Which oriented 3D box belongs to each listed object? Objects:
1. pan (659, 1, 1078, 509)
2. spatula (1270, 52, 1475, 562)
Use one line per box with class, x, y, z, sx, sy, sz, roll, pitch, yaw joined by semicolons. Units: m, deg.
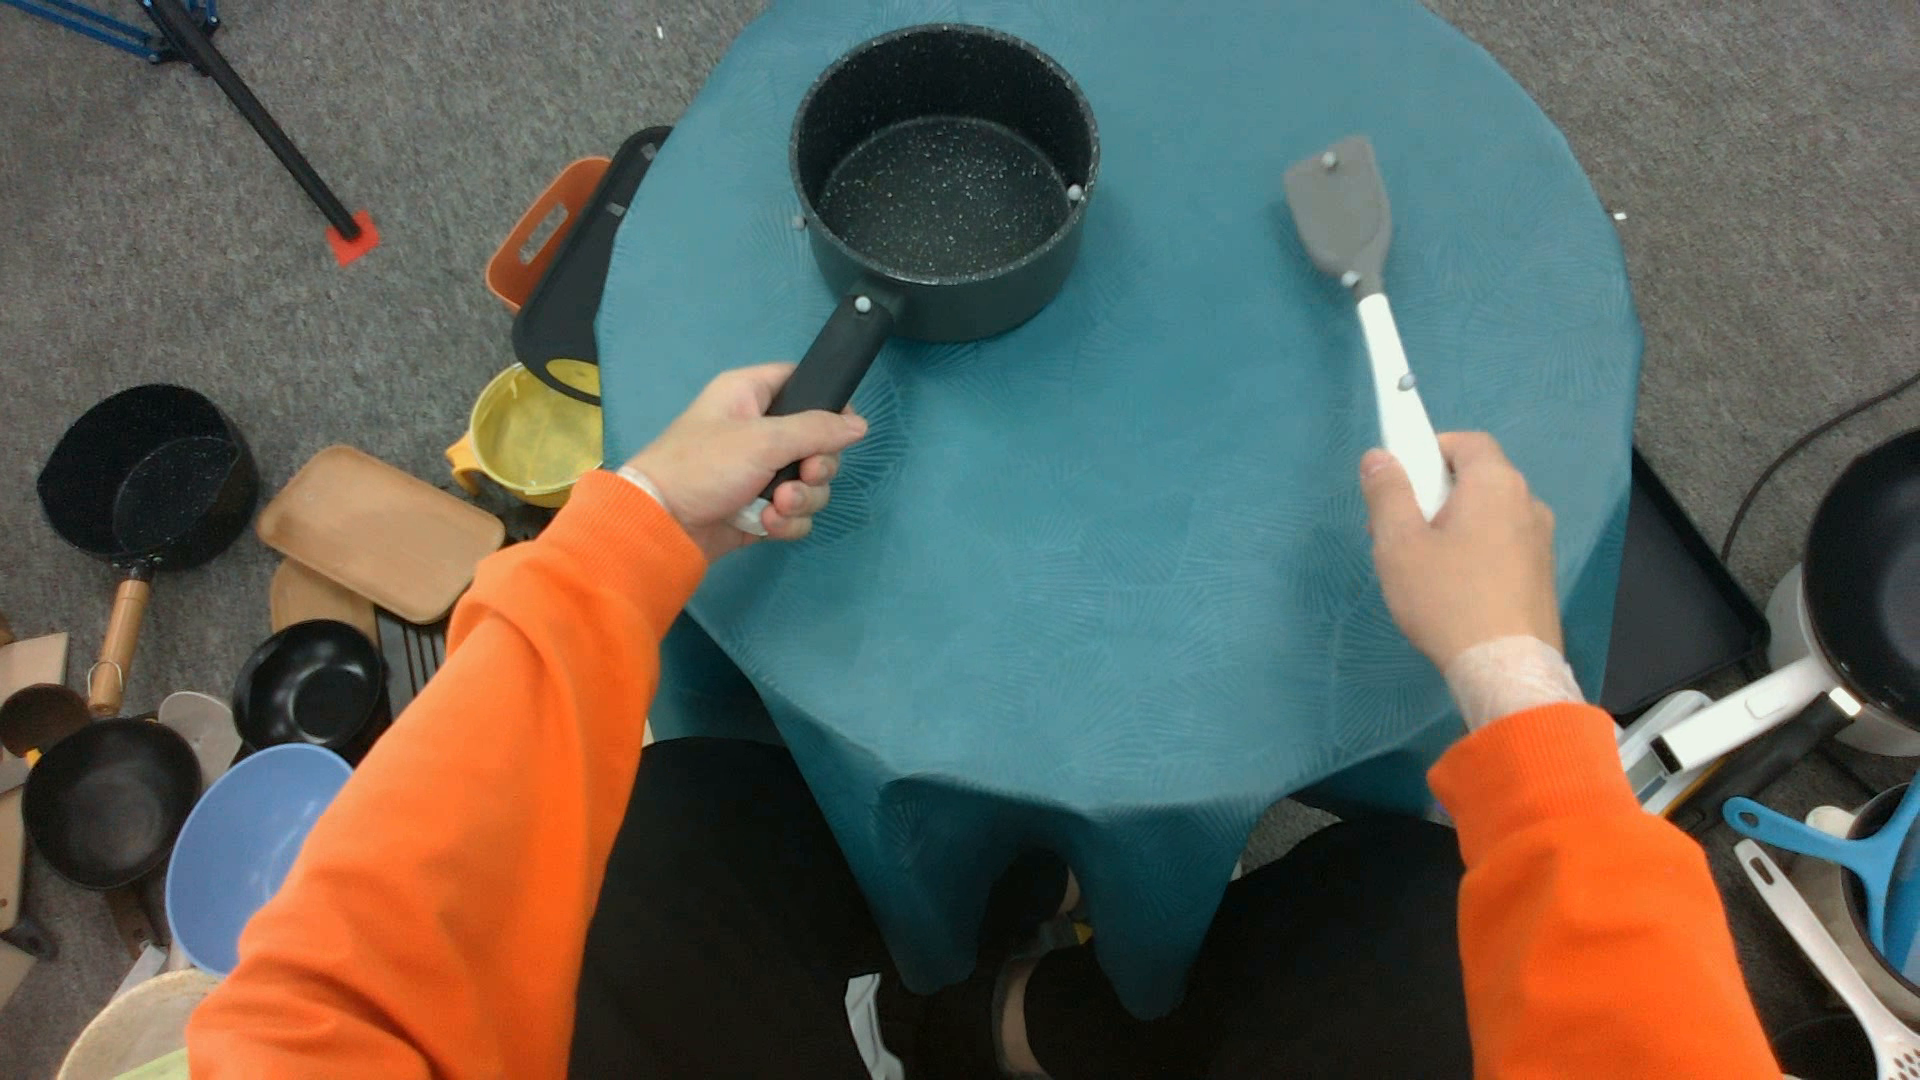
pan;-0.059;-0.145;0.751;0.172;0.086;0.330;27;69;5
spatula;0.209;-0.125;0.697;0.058;0.032;0.288;-26;57;36
